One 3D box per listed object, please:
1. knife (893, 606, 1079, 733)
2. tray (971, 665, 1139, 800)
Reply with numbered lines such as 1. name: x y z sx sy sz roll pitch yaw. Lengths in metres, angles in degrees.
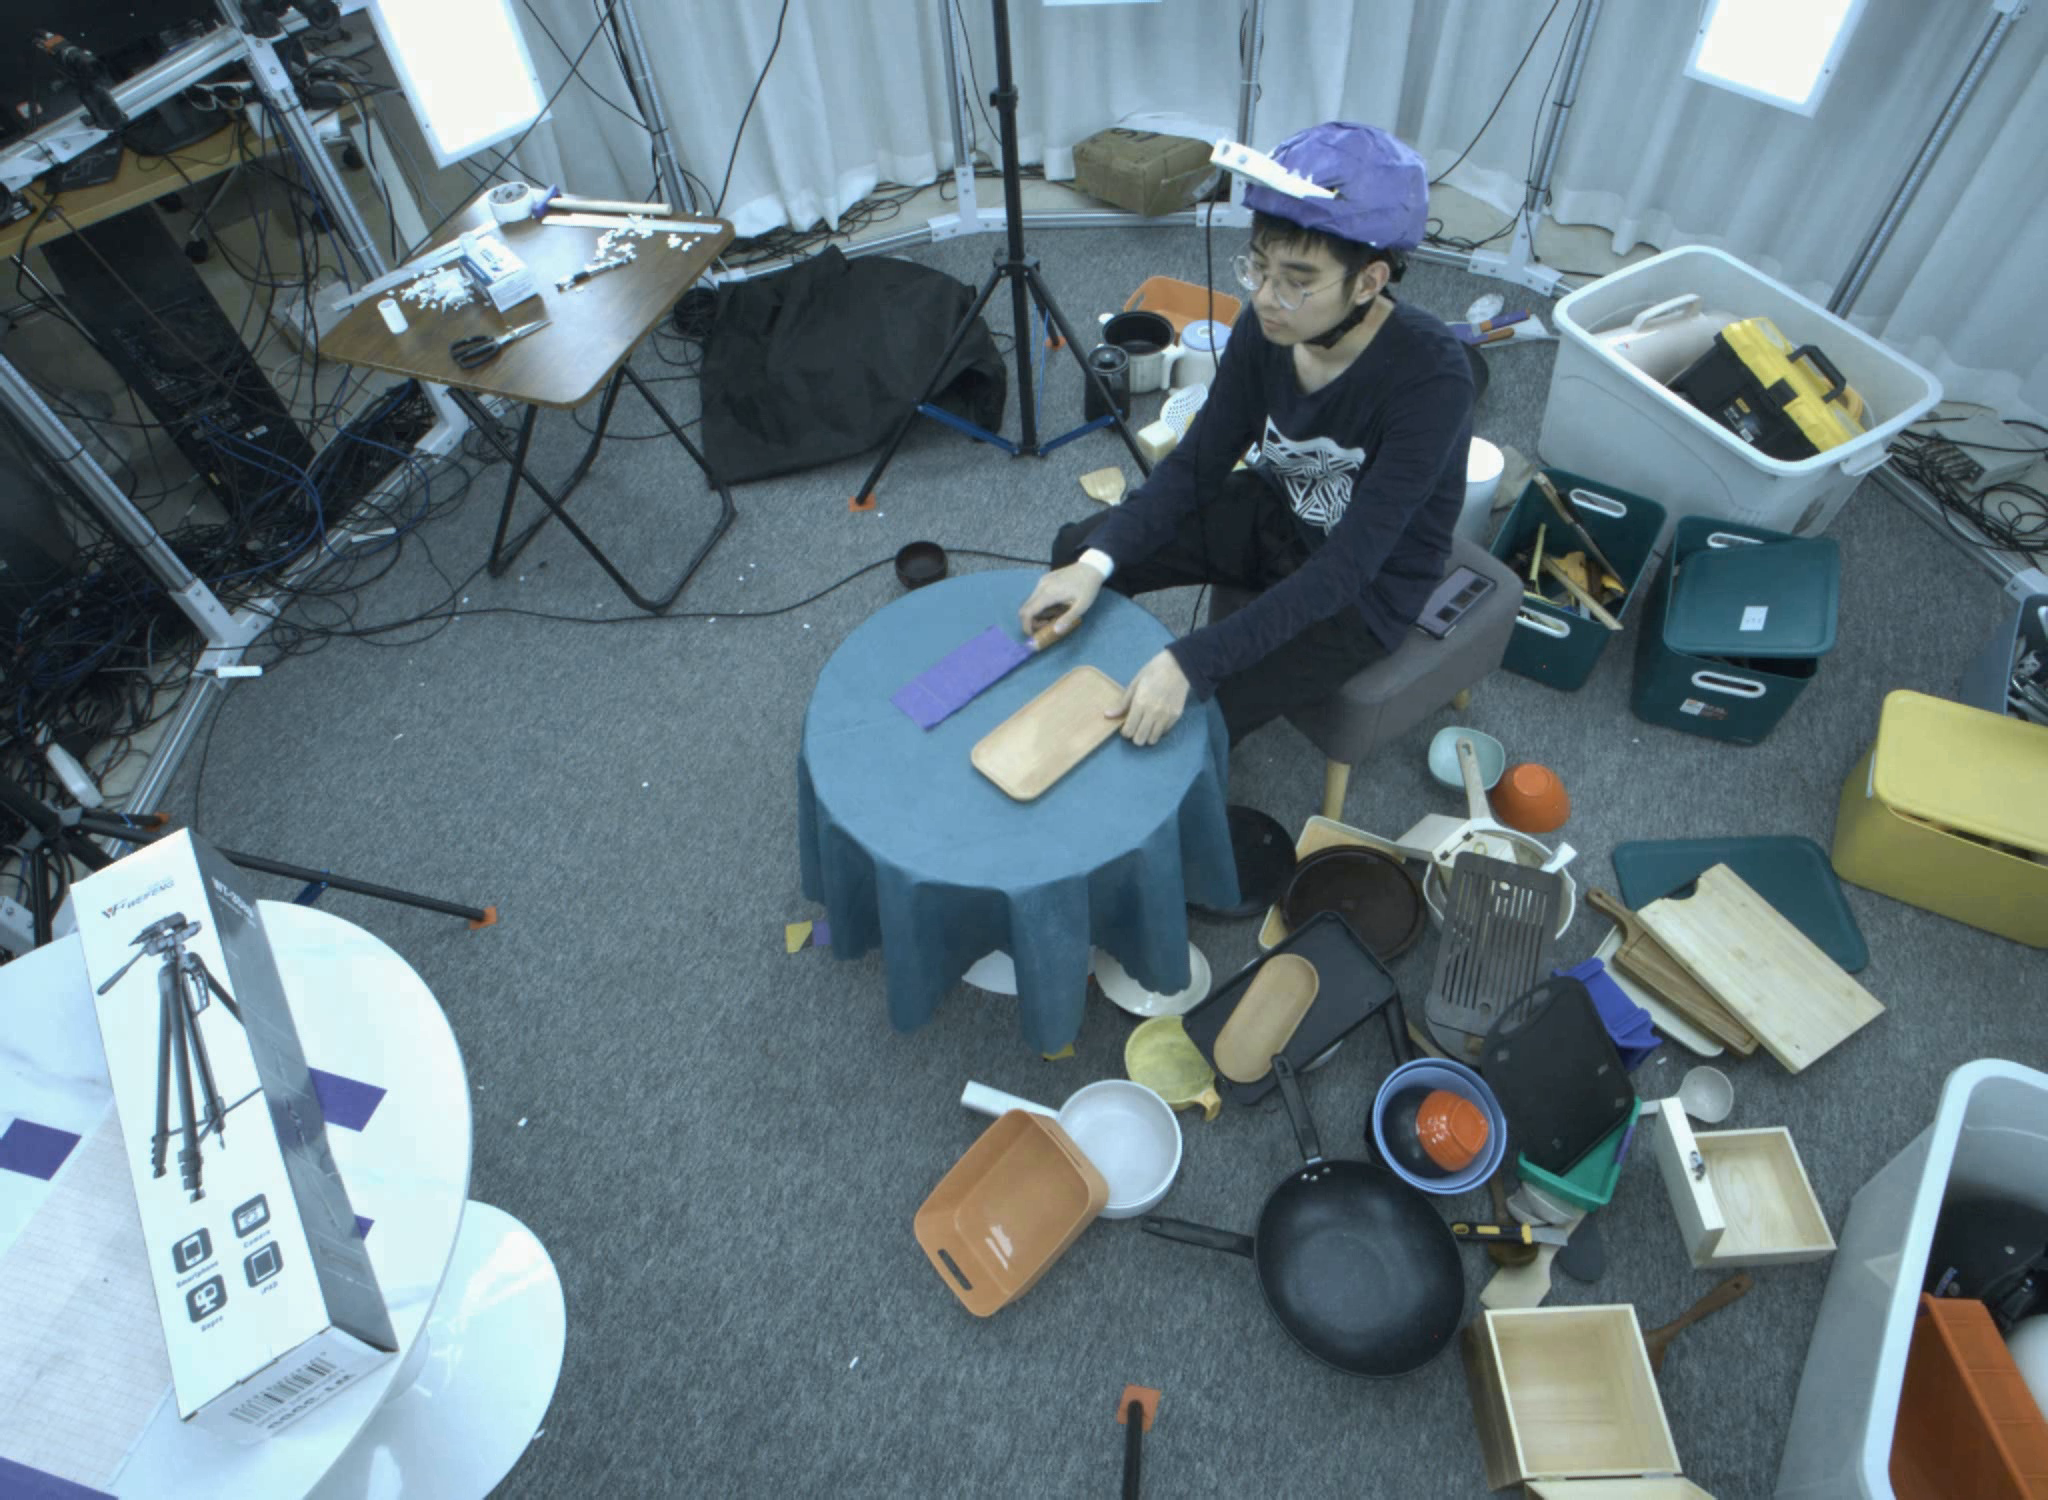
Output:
1. knife: -0.059 -0.144 1.883 0.317 0.032 0.102 -37 61 -22
2. tray: 0.047 -0.027 1.803 0.253 0.023 0.128 -36 64 -23
